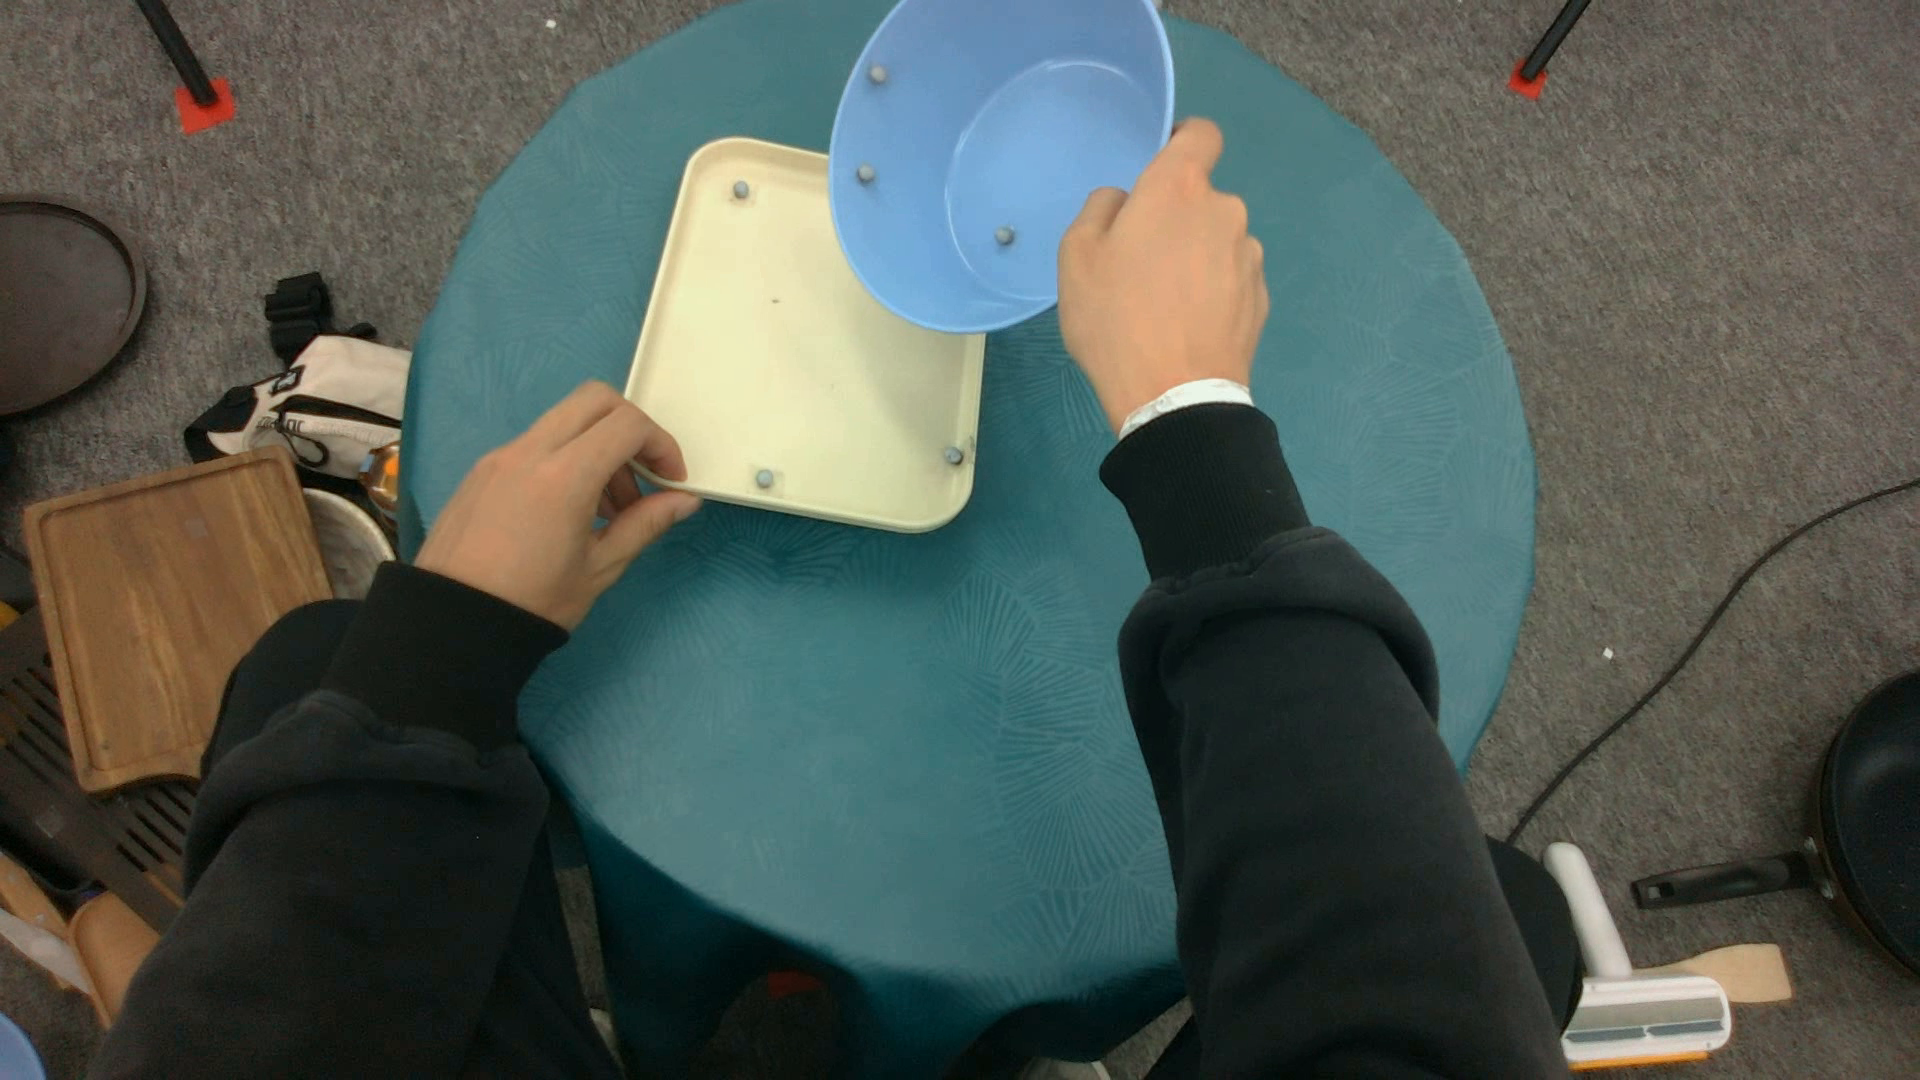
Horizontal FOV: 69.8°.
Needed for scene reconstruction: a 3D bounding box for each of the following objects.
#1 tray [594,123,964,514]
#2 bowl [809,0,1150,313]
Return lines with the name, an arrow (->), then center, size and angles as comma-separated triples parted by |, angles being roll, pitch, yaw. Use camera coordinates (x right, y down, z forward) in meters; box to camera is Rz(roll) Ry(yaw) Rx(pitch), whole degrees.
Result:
tray -> -0.083, -0.118, 0.705 | 0.171, 0.017, 0.241 | 9, 56, -7
bowl -> 0.019, -0.183, 0.629 | 0.175, 0.070, 0.176 | -4, 83, 32
